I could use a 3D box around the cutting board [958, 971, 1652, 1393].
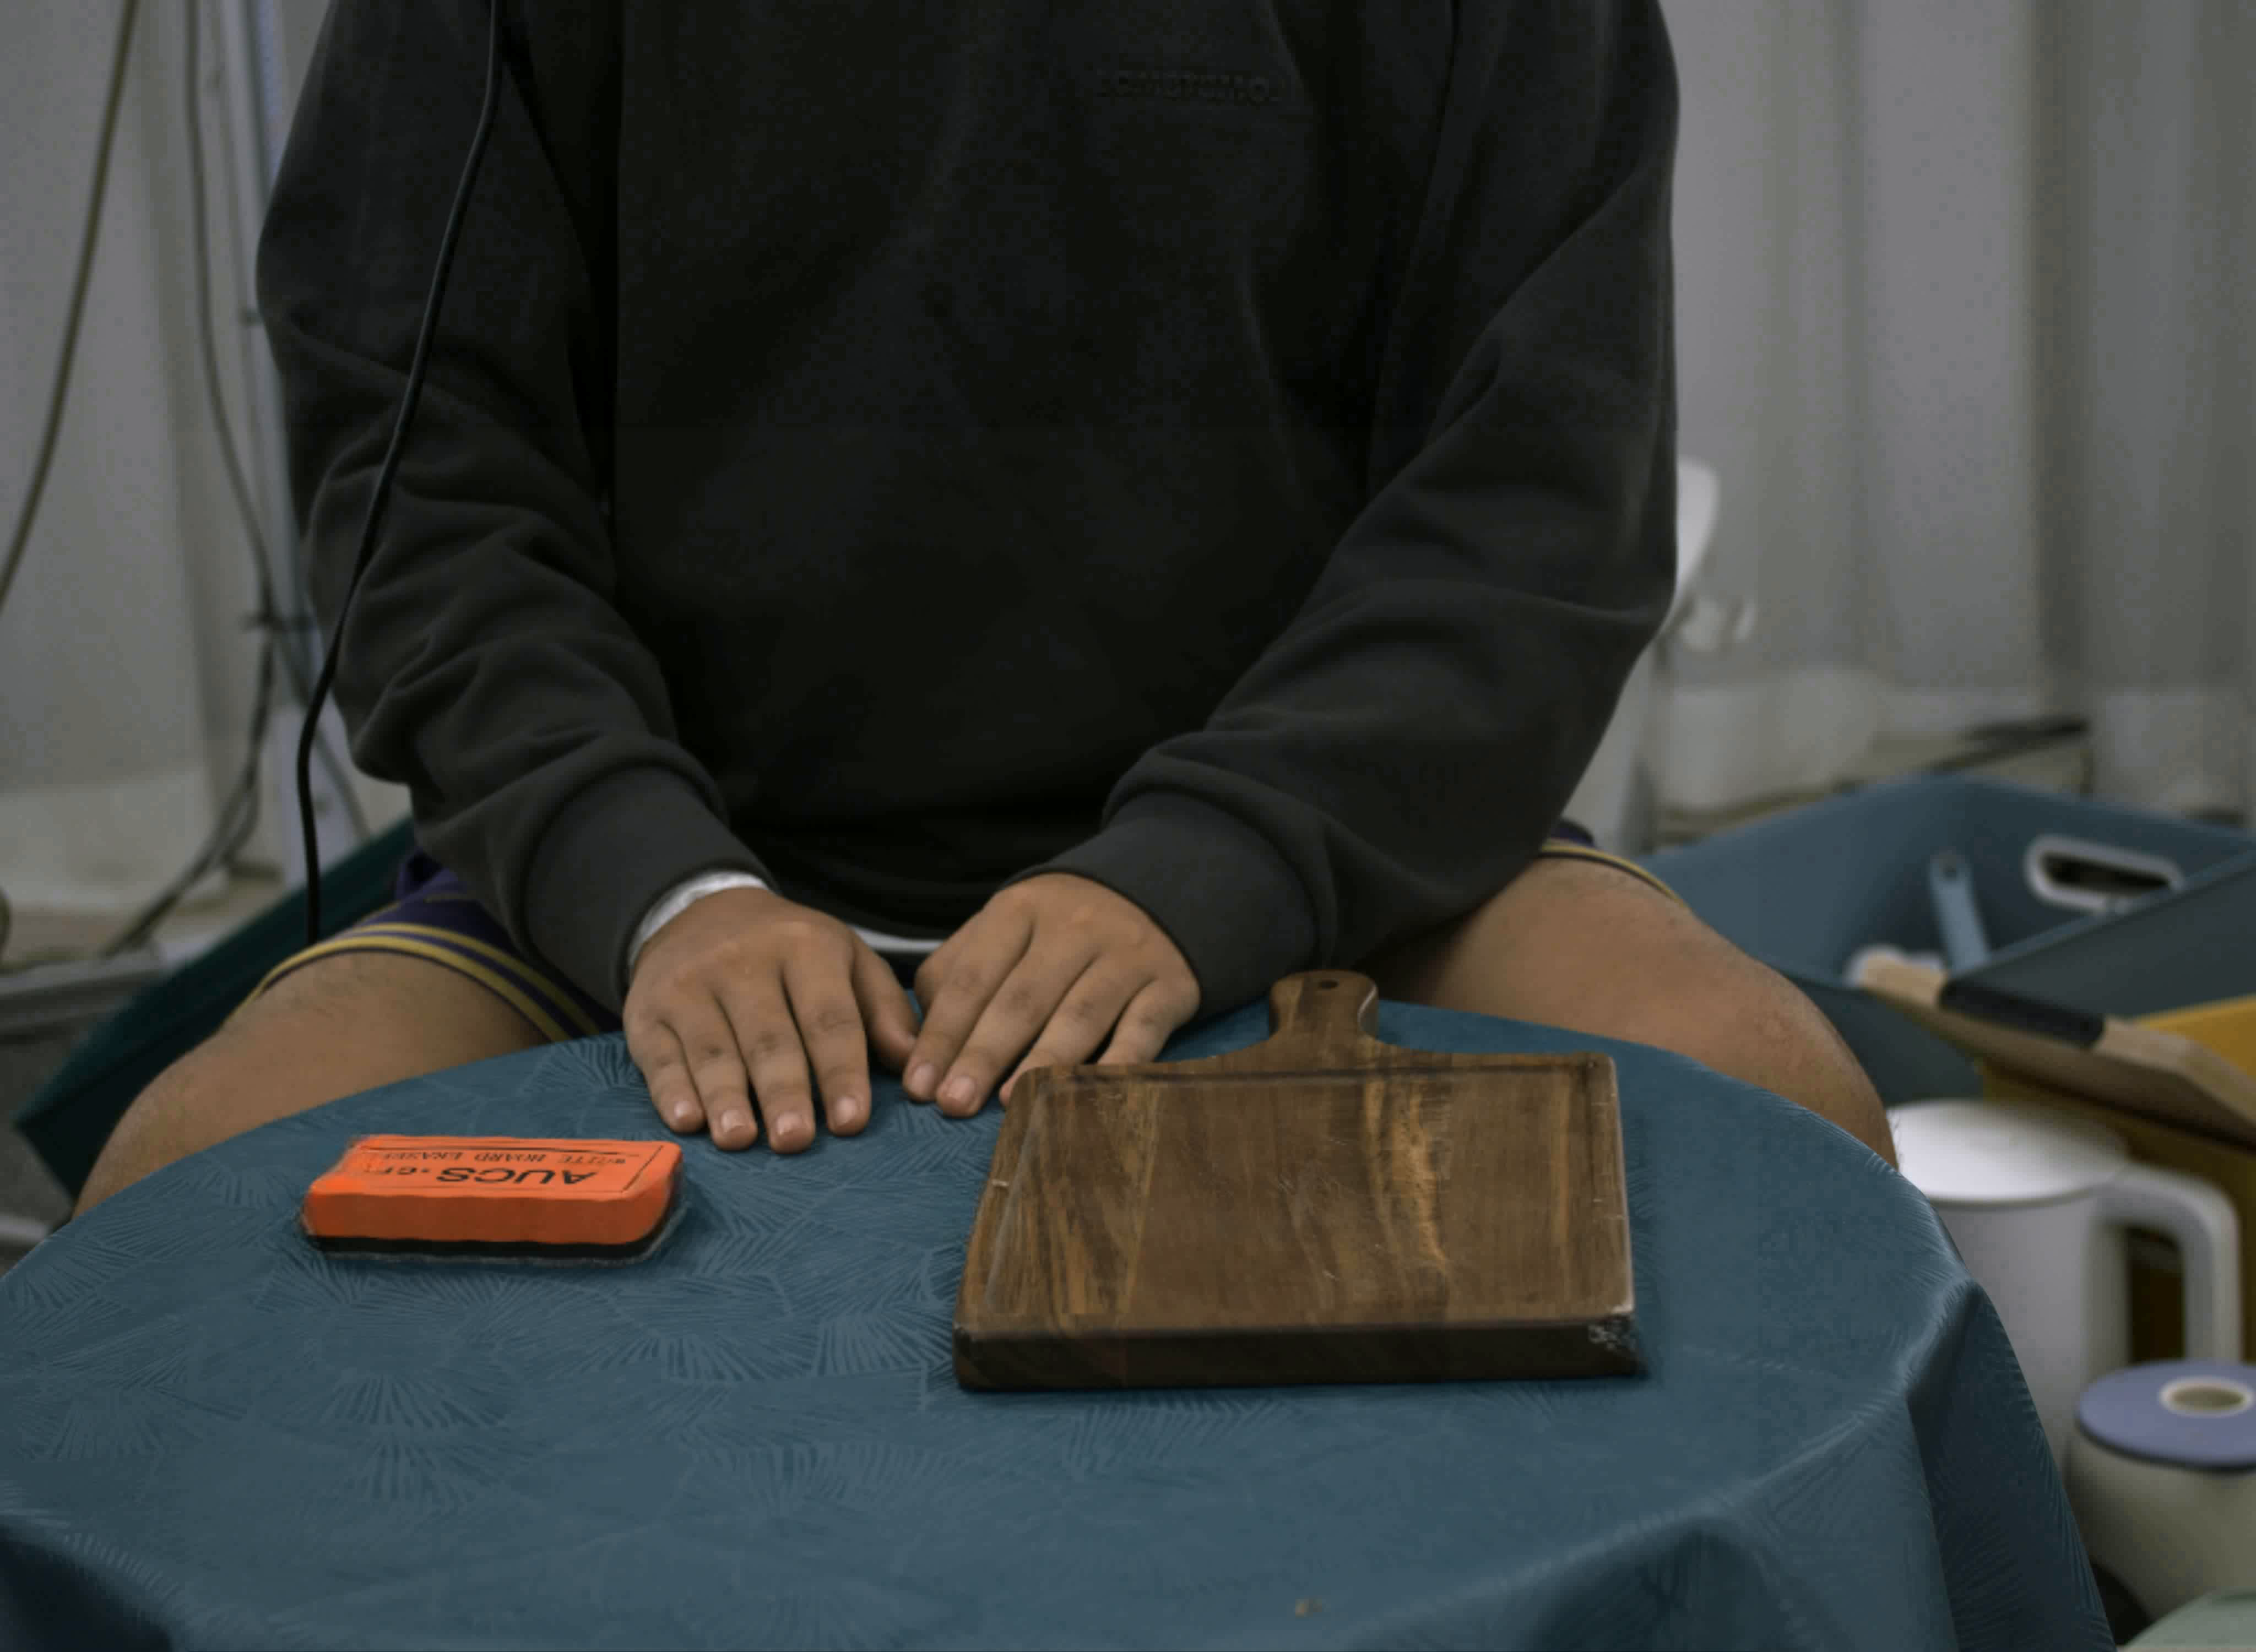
[{"bbox_3d":[0.056,0.104,1.706,0.200,0.023,0.354,-2,15,4],"label":"cutting board"}]

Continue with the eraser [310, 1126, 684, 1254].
[{"bbox_3d":[-0.196,0.113,1.702,0.108,0.023,0.059,-1,16,13],"label":"eraser"}]
